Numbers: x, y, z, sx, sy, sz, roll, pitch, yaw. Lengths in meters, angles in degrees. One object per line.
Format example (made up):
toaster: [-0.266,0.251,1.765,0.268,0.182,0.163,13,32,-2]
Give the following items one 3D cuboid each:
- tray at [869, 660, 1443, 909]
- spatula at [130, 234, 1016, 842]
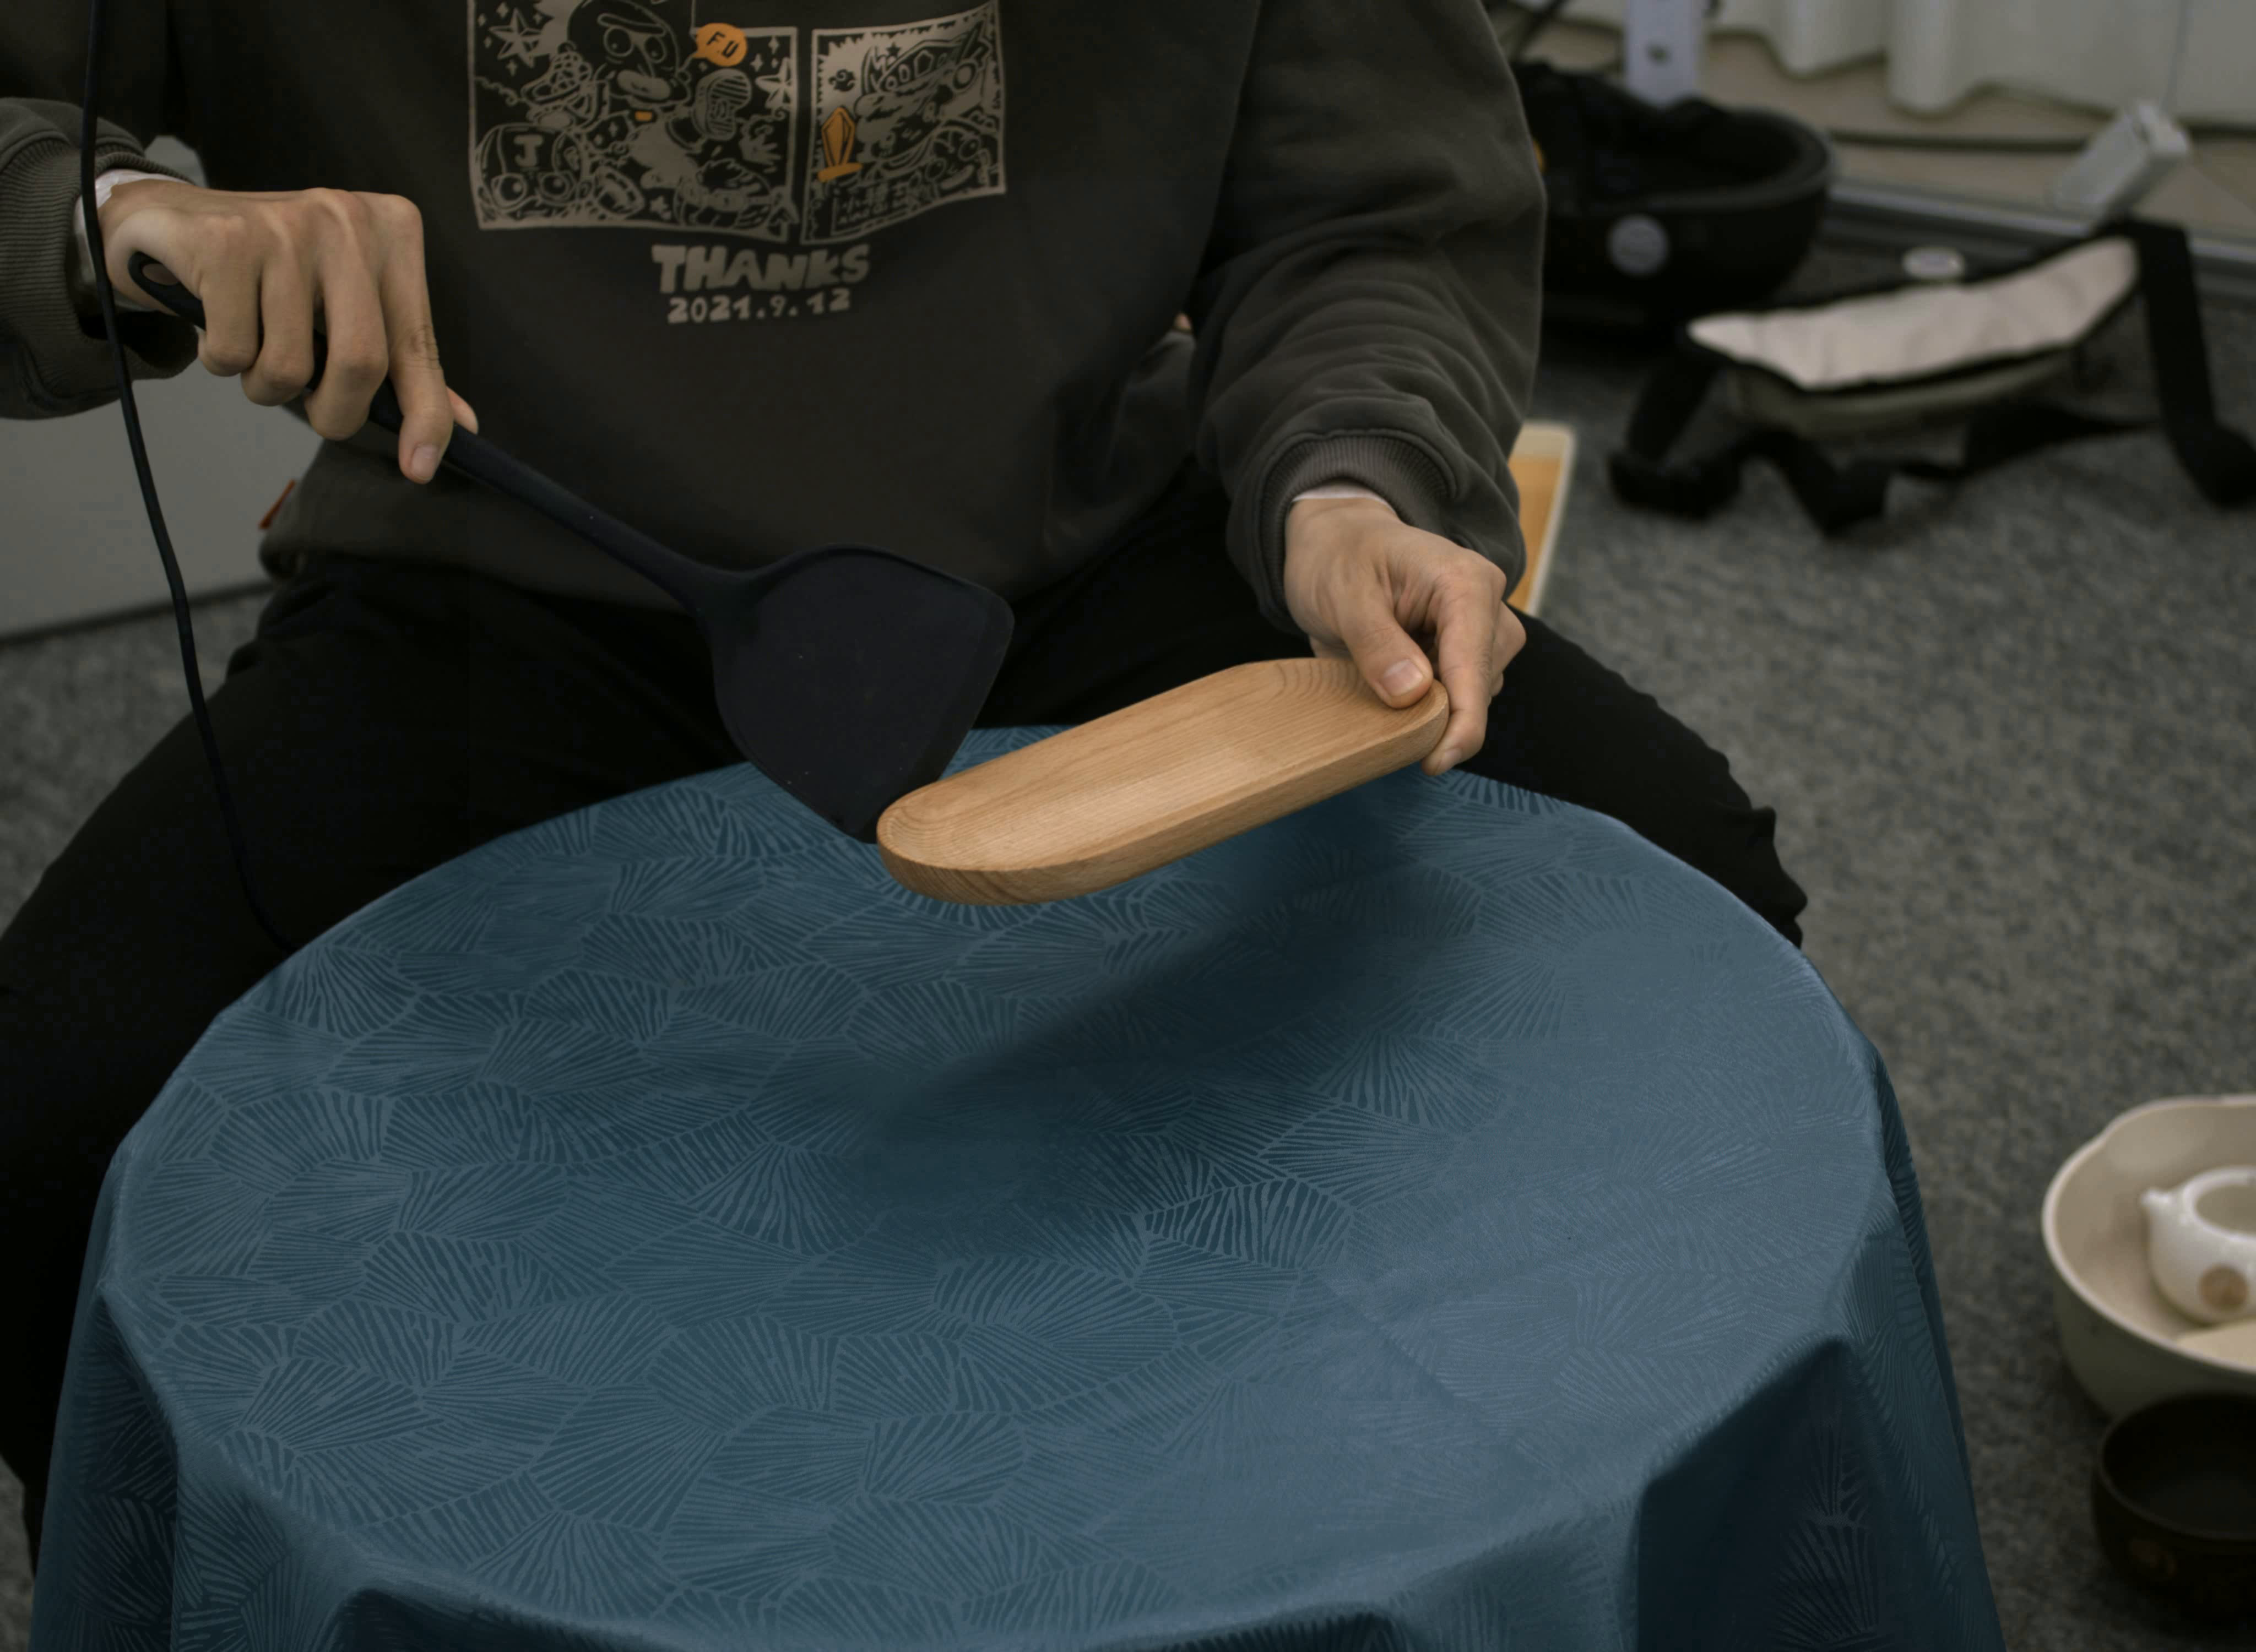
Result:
tray: [0.012,-0.015,1.920,0.234,0.020,0.101,-23,26,-38]
spatula: [-0.196,-0.113,1.914,0.325,0.100,0.040,31,-7,-7]
